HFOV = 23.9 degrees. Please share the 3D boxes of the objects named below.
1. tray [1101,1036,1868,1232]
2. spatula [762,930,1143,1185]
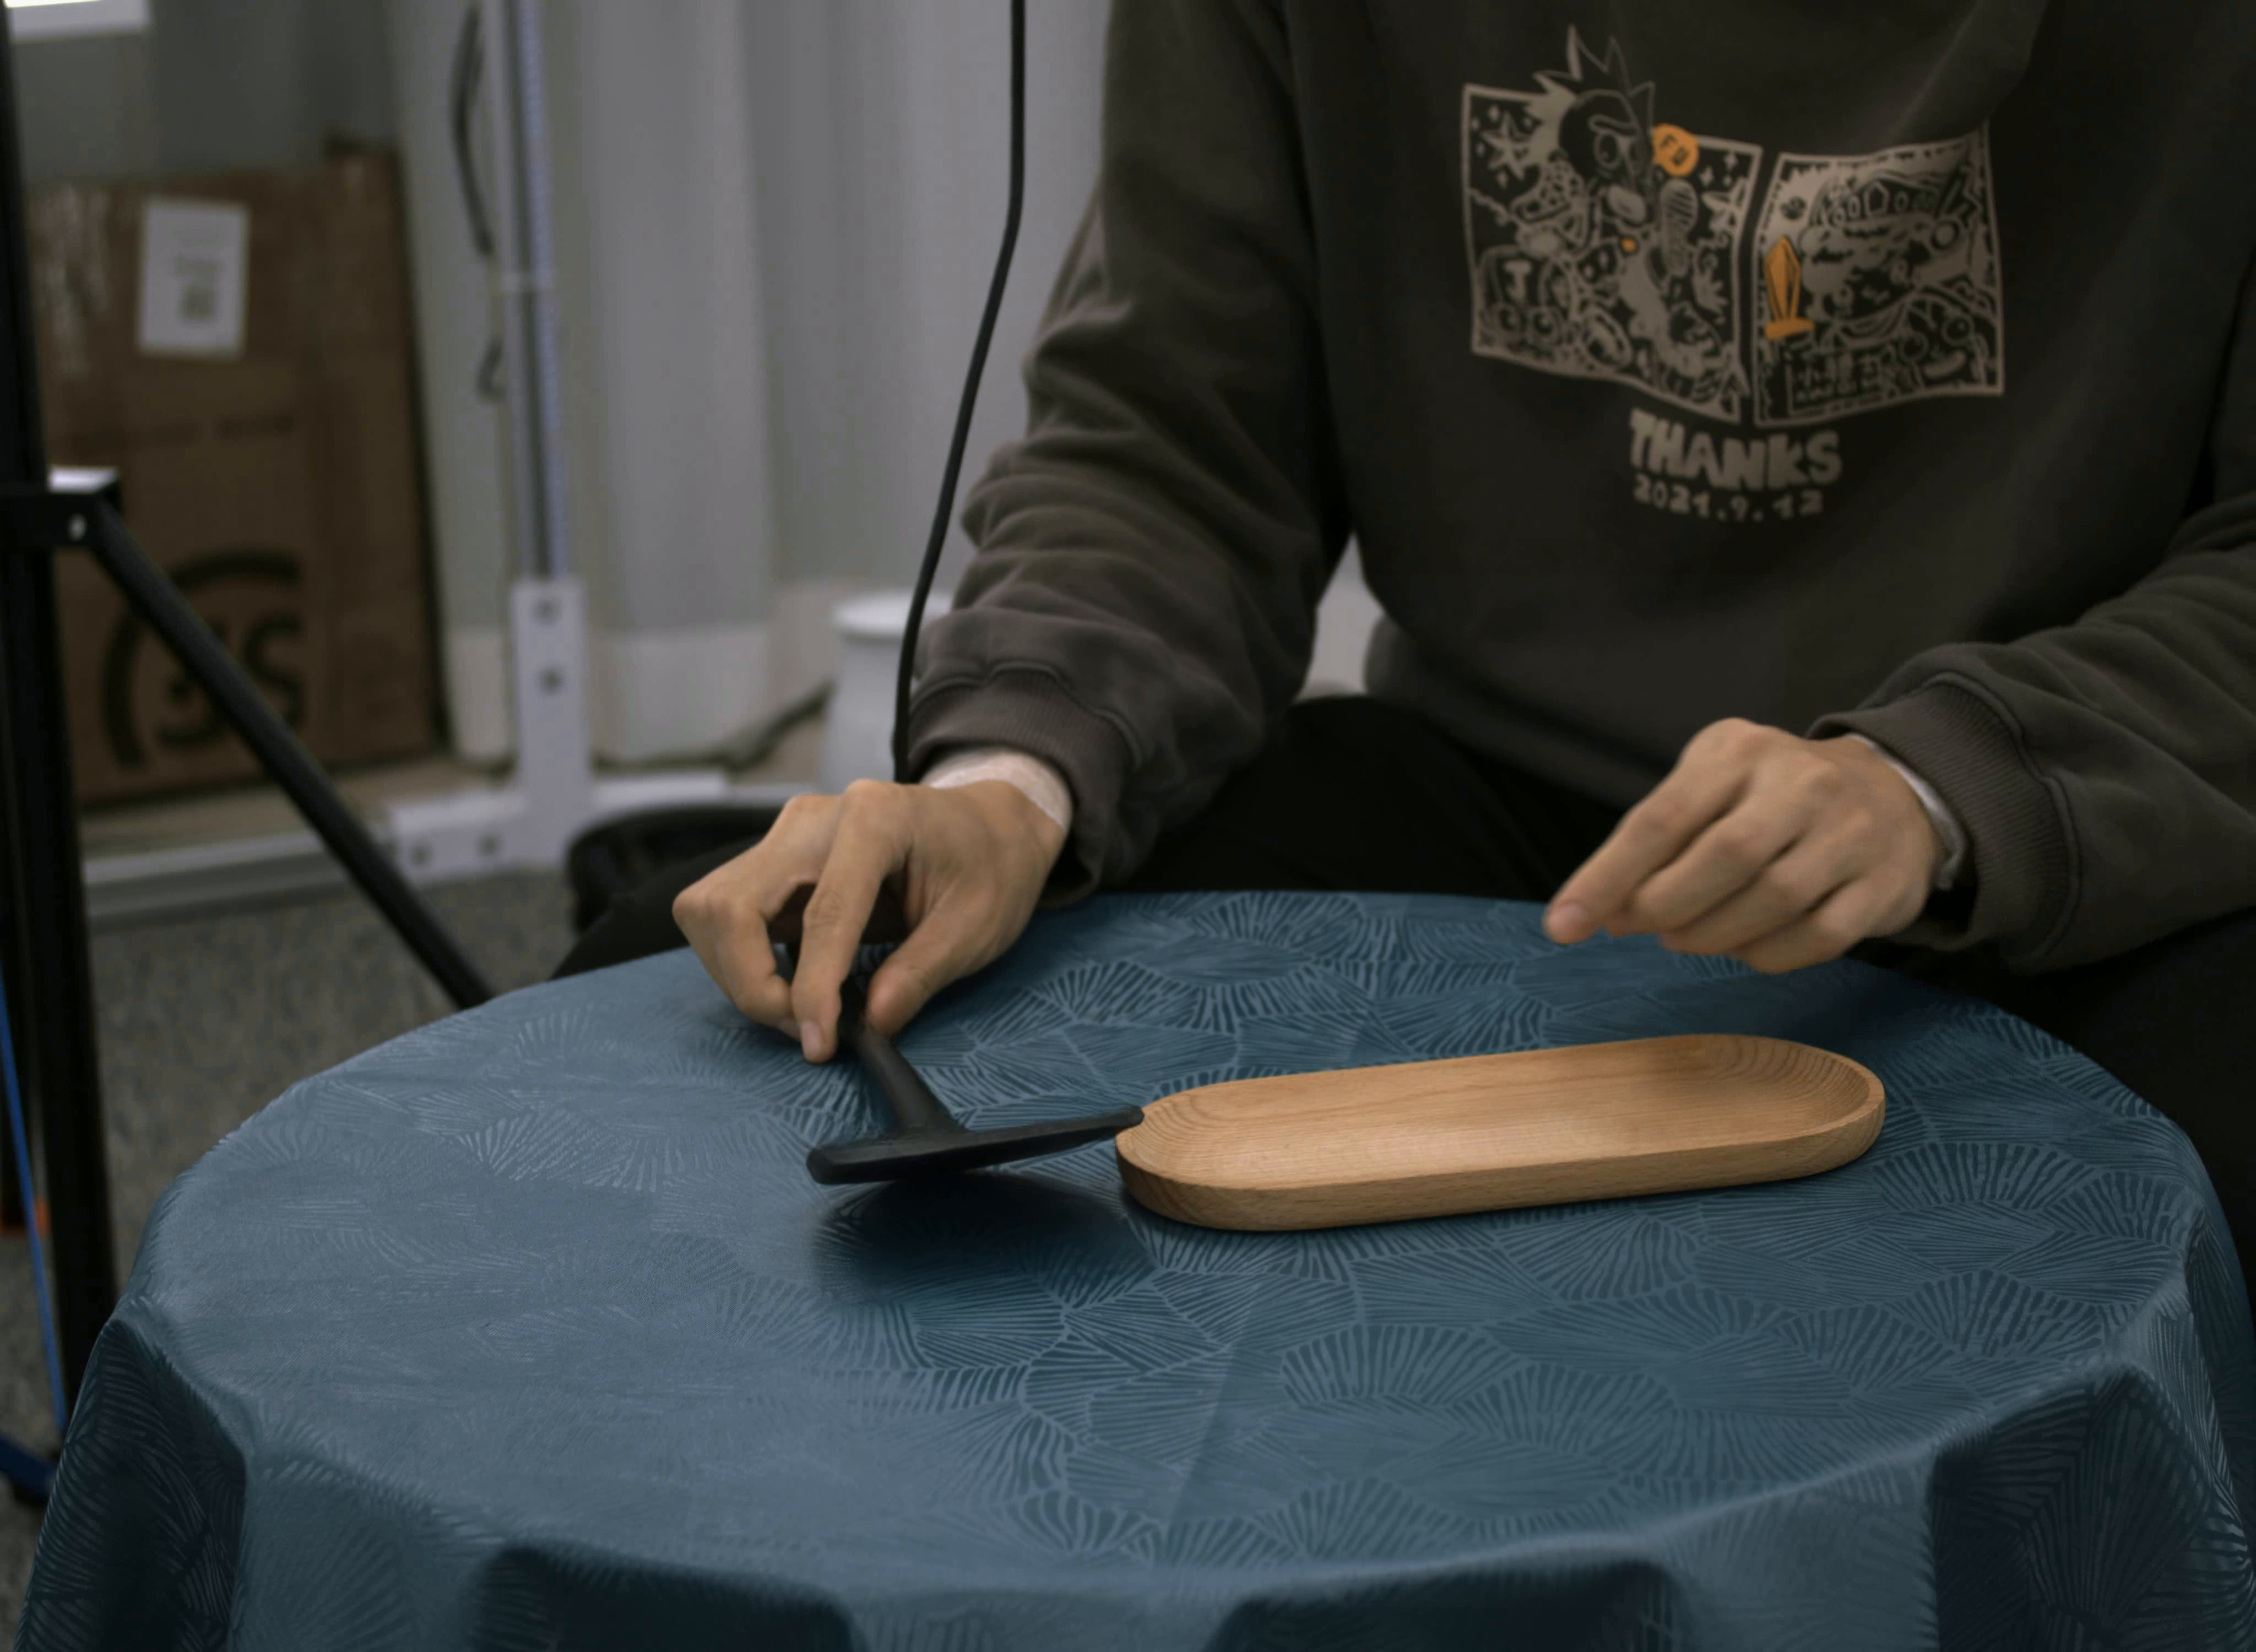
[{"bbox_3d":[0.107,0.092,1.572,0.228,0.020,0.103,-6,15,-8],"label":"tray"},{"bbox_3d":[-0.078,0.066,1.656,0.098,0.040,0.331,-6,16,-13],"label":"spatula"}]
